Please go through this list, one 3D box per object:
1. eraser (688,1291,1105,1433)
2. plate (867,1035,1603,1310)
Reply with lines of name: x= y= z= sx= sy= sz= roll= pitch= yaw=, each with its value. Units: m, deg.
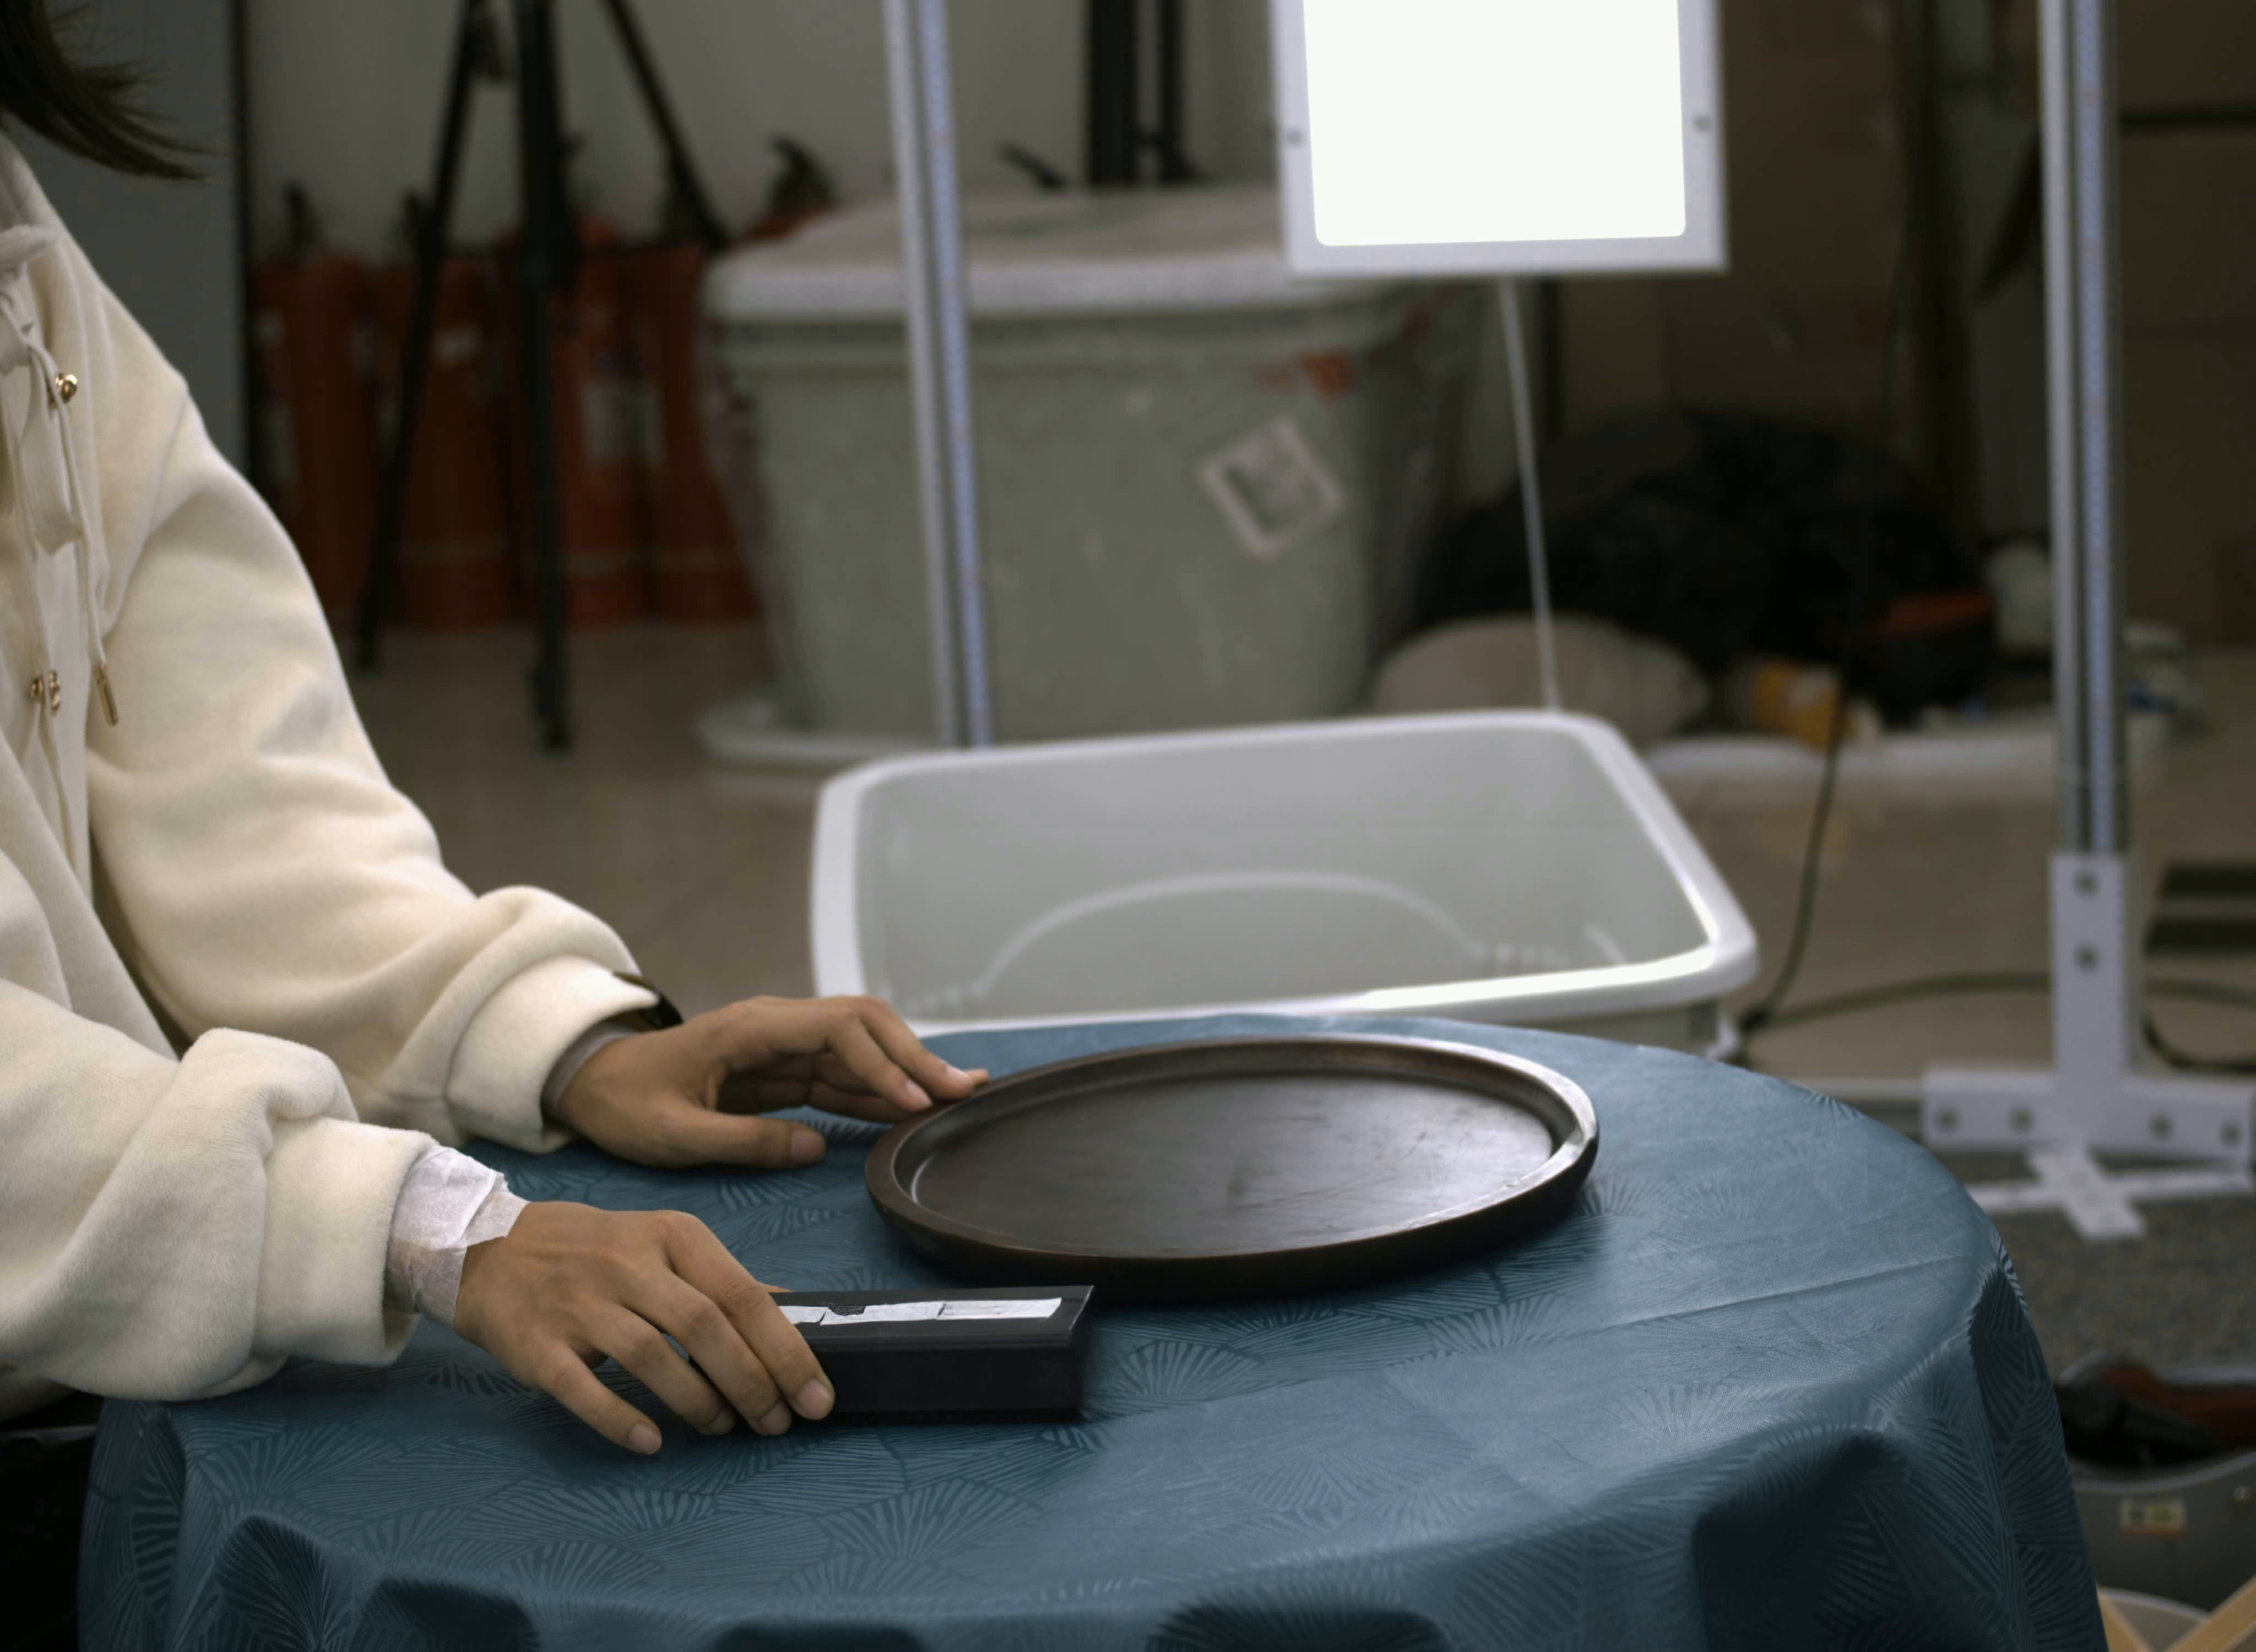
eraser: x=-0.070 y=0.166 z=1.709 sx=0.126 sy=0.030 sz=0.053 roll=-4 pitch=11 yaw=13
plate: x=0.037 y=0.116 z=1.879 sx=0.254 sy=0.029 sz=0.254 roll=-4 pitch=14 yaw=0
